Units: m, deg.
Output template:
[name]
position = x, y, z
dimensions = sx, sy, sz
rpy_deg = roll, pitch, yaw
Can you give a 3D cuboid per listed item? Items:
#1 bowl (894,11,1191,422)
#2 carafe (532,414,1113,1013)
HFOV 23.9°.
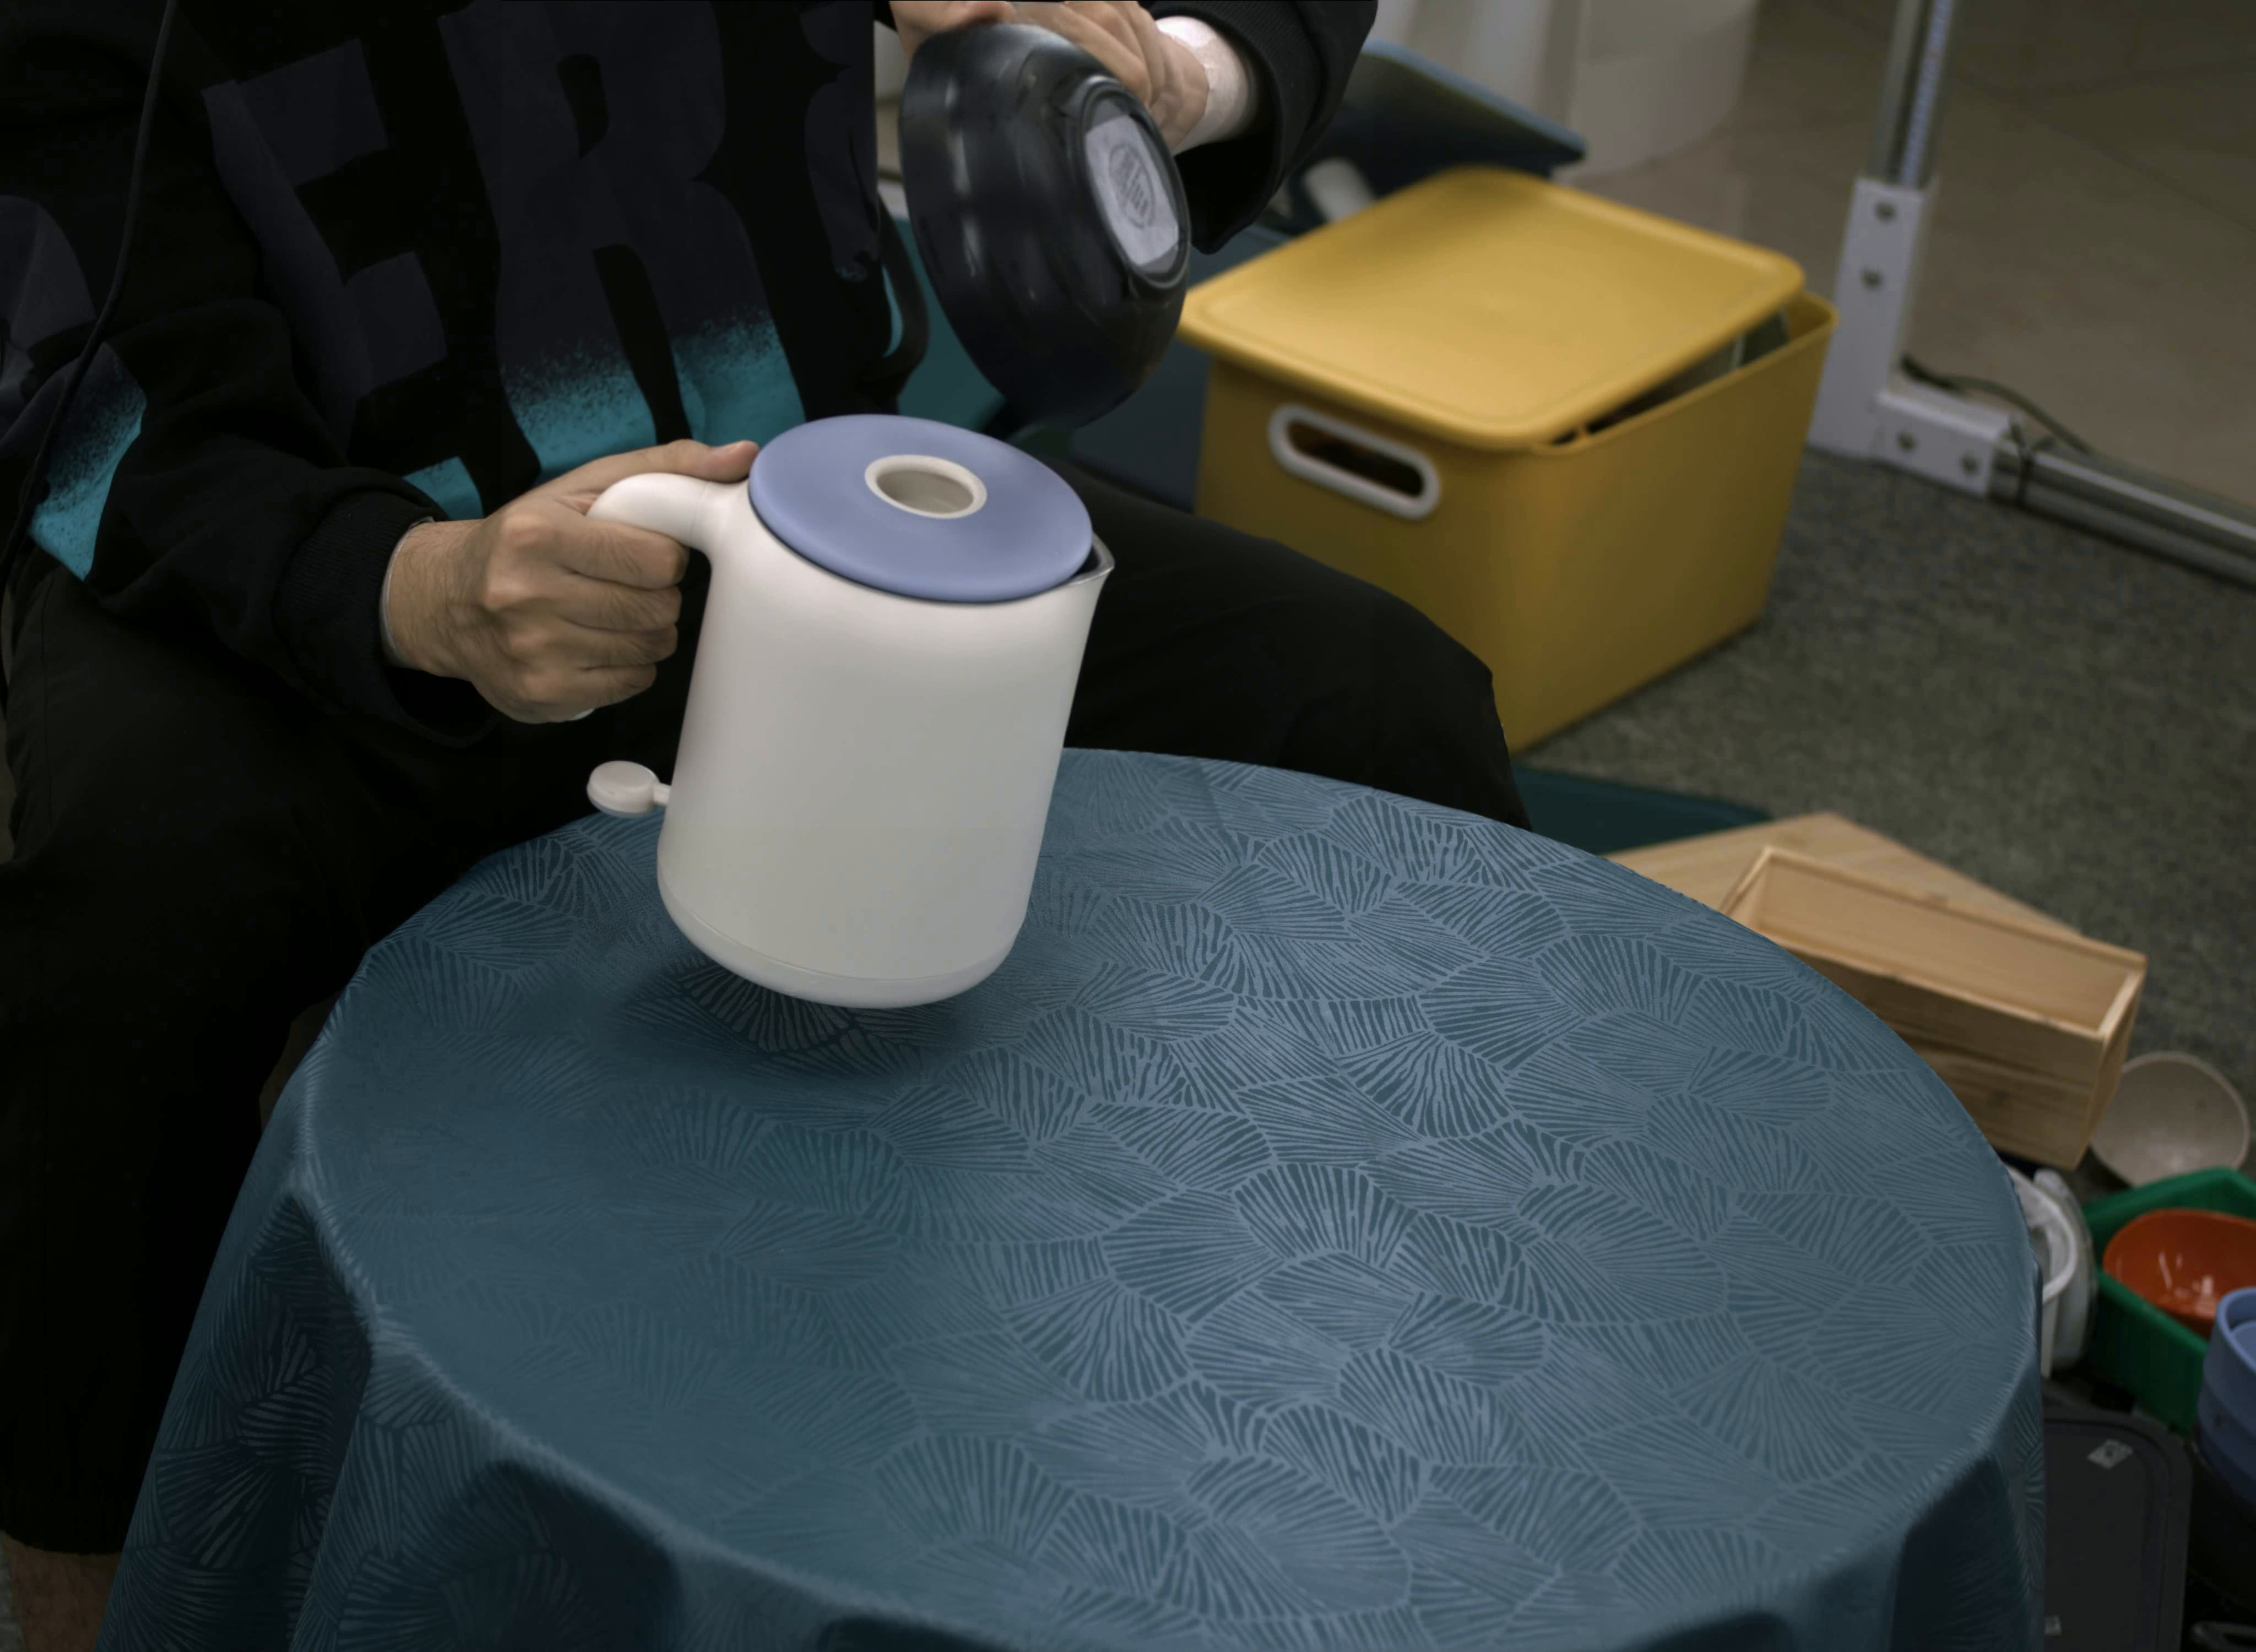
[bowl]
position = -0.018, -0.205, 1.734
dimensions = 0.050, 0.140, 0.140
rpy_deg = -17, 15, 28
[carafe]
position = -0.110, -0.044, 1.836
dimensions = 0.191, 0.182, 0.133
rpy_deg = 12, 29, 4
